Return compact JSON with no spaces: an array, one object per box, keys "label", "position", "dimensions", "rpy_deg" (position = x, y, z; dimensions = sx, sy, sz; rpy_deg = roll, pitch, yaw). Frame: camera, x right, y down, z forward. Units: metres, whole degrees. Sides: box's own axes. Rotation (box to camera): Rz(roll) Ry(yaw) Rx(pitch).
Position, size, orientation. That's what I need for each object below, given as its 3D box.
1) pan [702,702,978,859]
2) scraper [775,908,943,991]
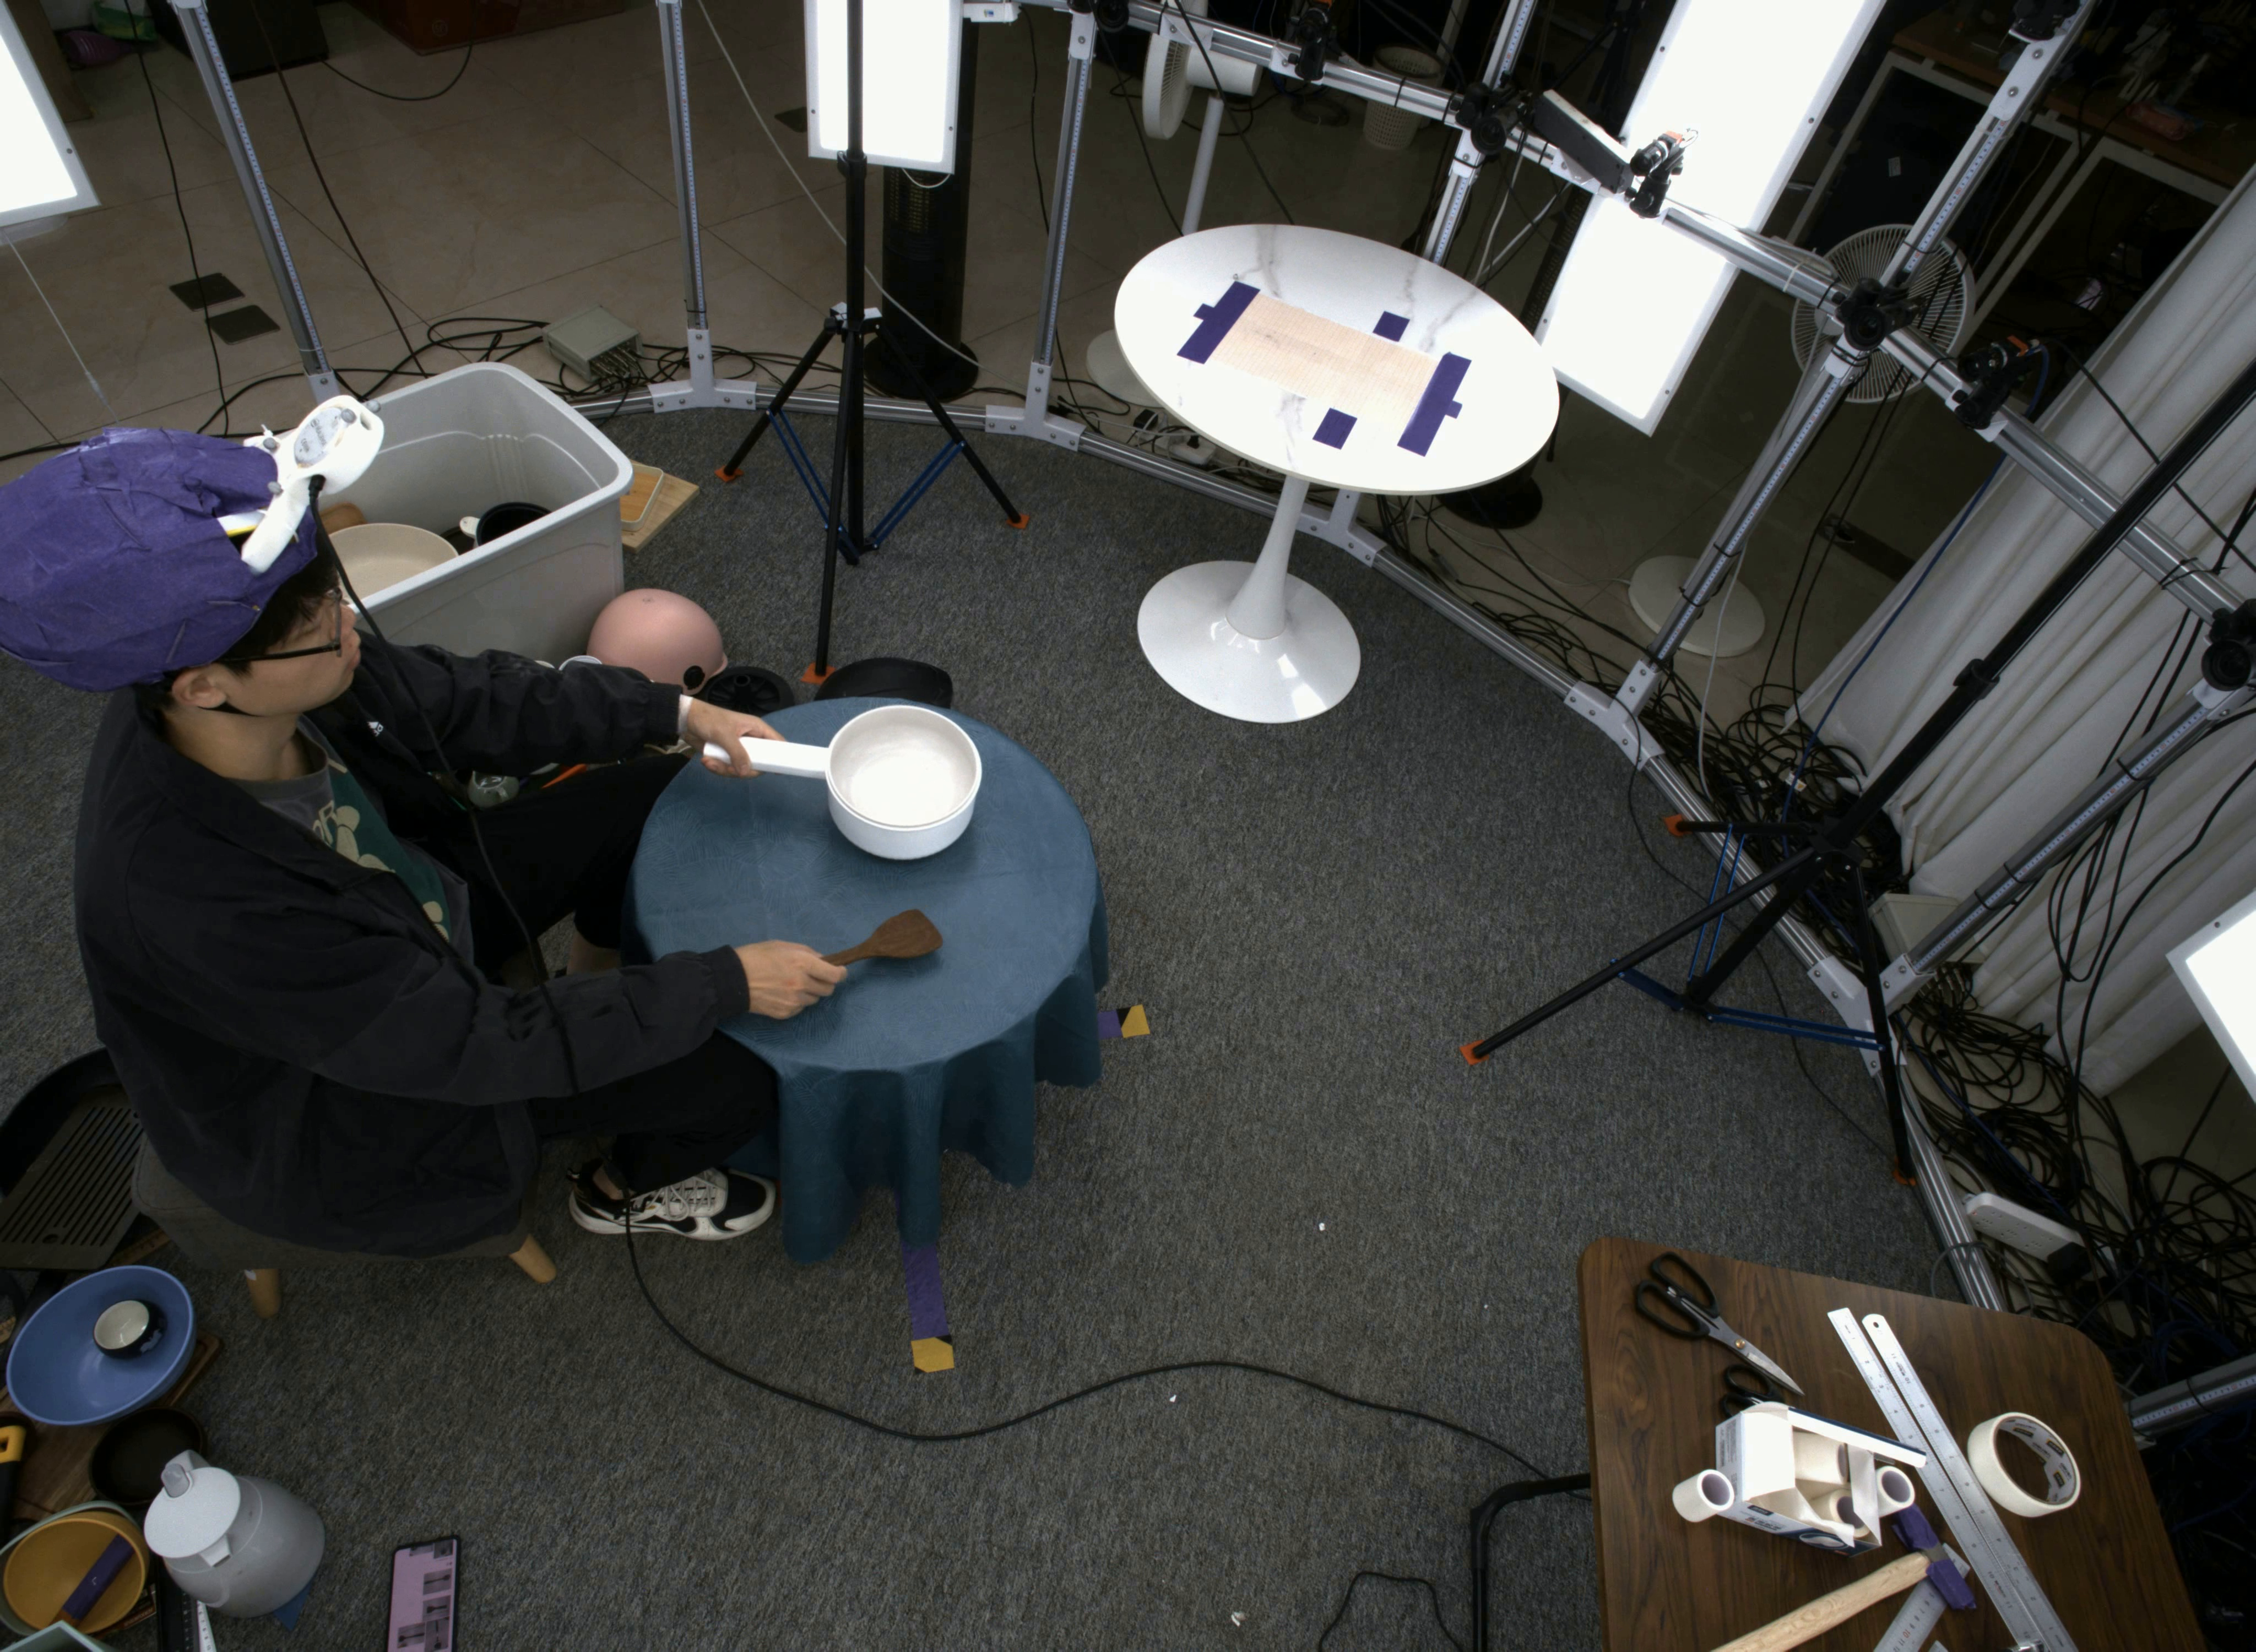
[{"label":"pan","position":[-0.377,-0.064,1.711],"dimensions":[0.354,0.104,0.198],"rpy_deg":[7,56,-9]},{"label":"scraper","position":[-0.330,0.154,1.585],"dimensions":[0.213,0.011,0.073],"rpy_deg":[-20,50,-33]}]
